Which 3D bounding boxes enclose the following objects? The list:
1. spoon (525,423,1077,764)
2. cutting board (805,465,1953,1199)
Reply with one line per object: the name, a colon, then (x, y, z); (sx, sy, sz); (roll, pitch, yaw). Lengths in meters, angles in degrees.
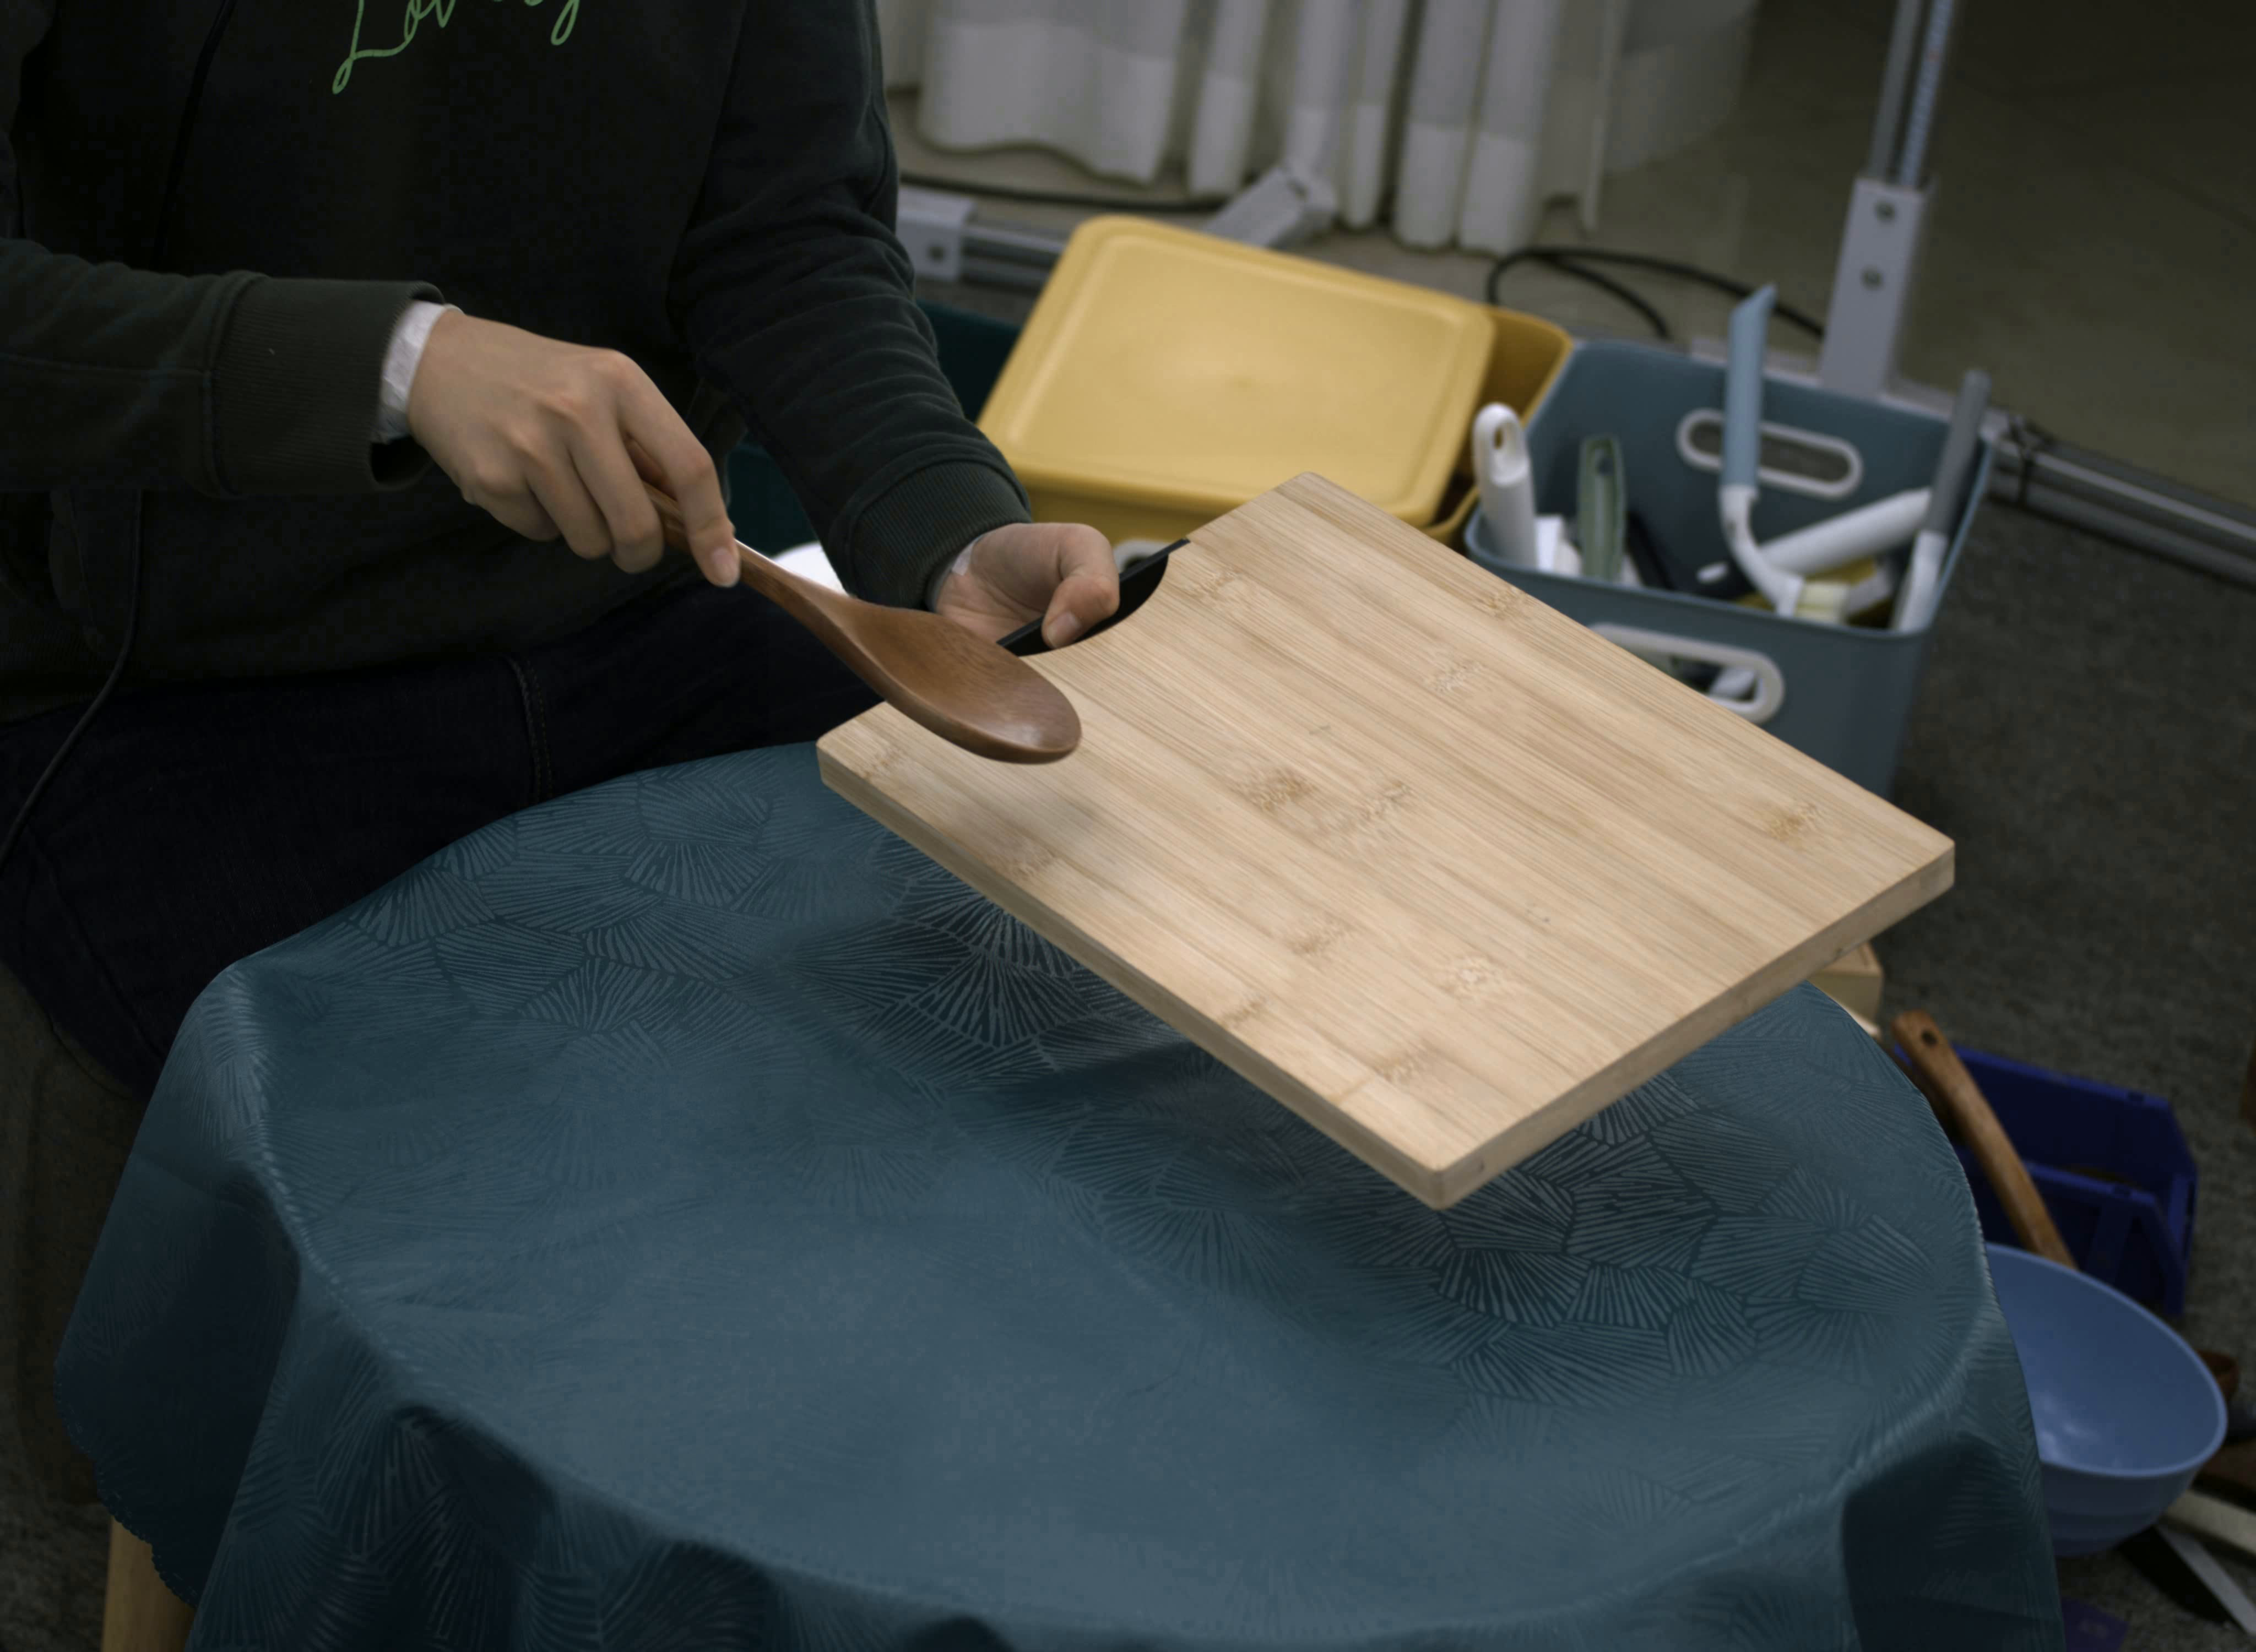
spoon: (-0.114, -0.079, 1.837); (0.215, 0.017, 0.075); (31, 27, 0)
cutting board: (0.082, -0.007, 1.874); (0.250, 0.023, 0.351); (-30, 42, -28)
